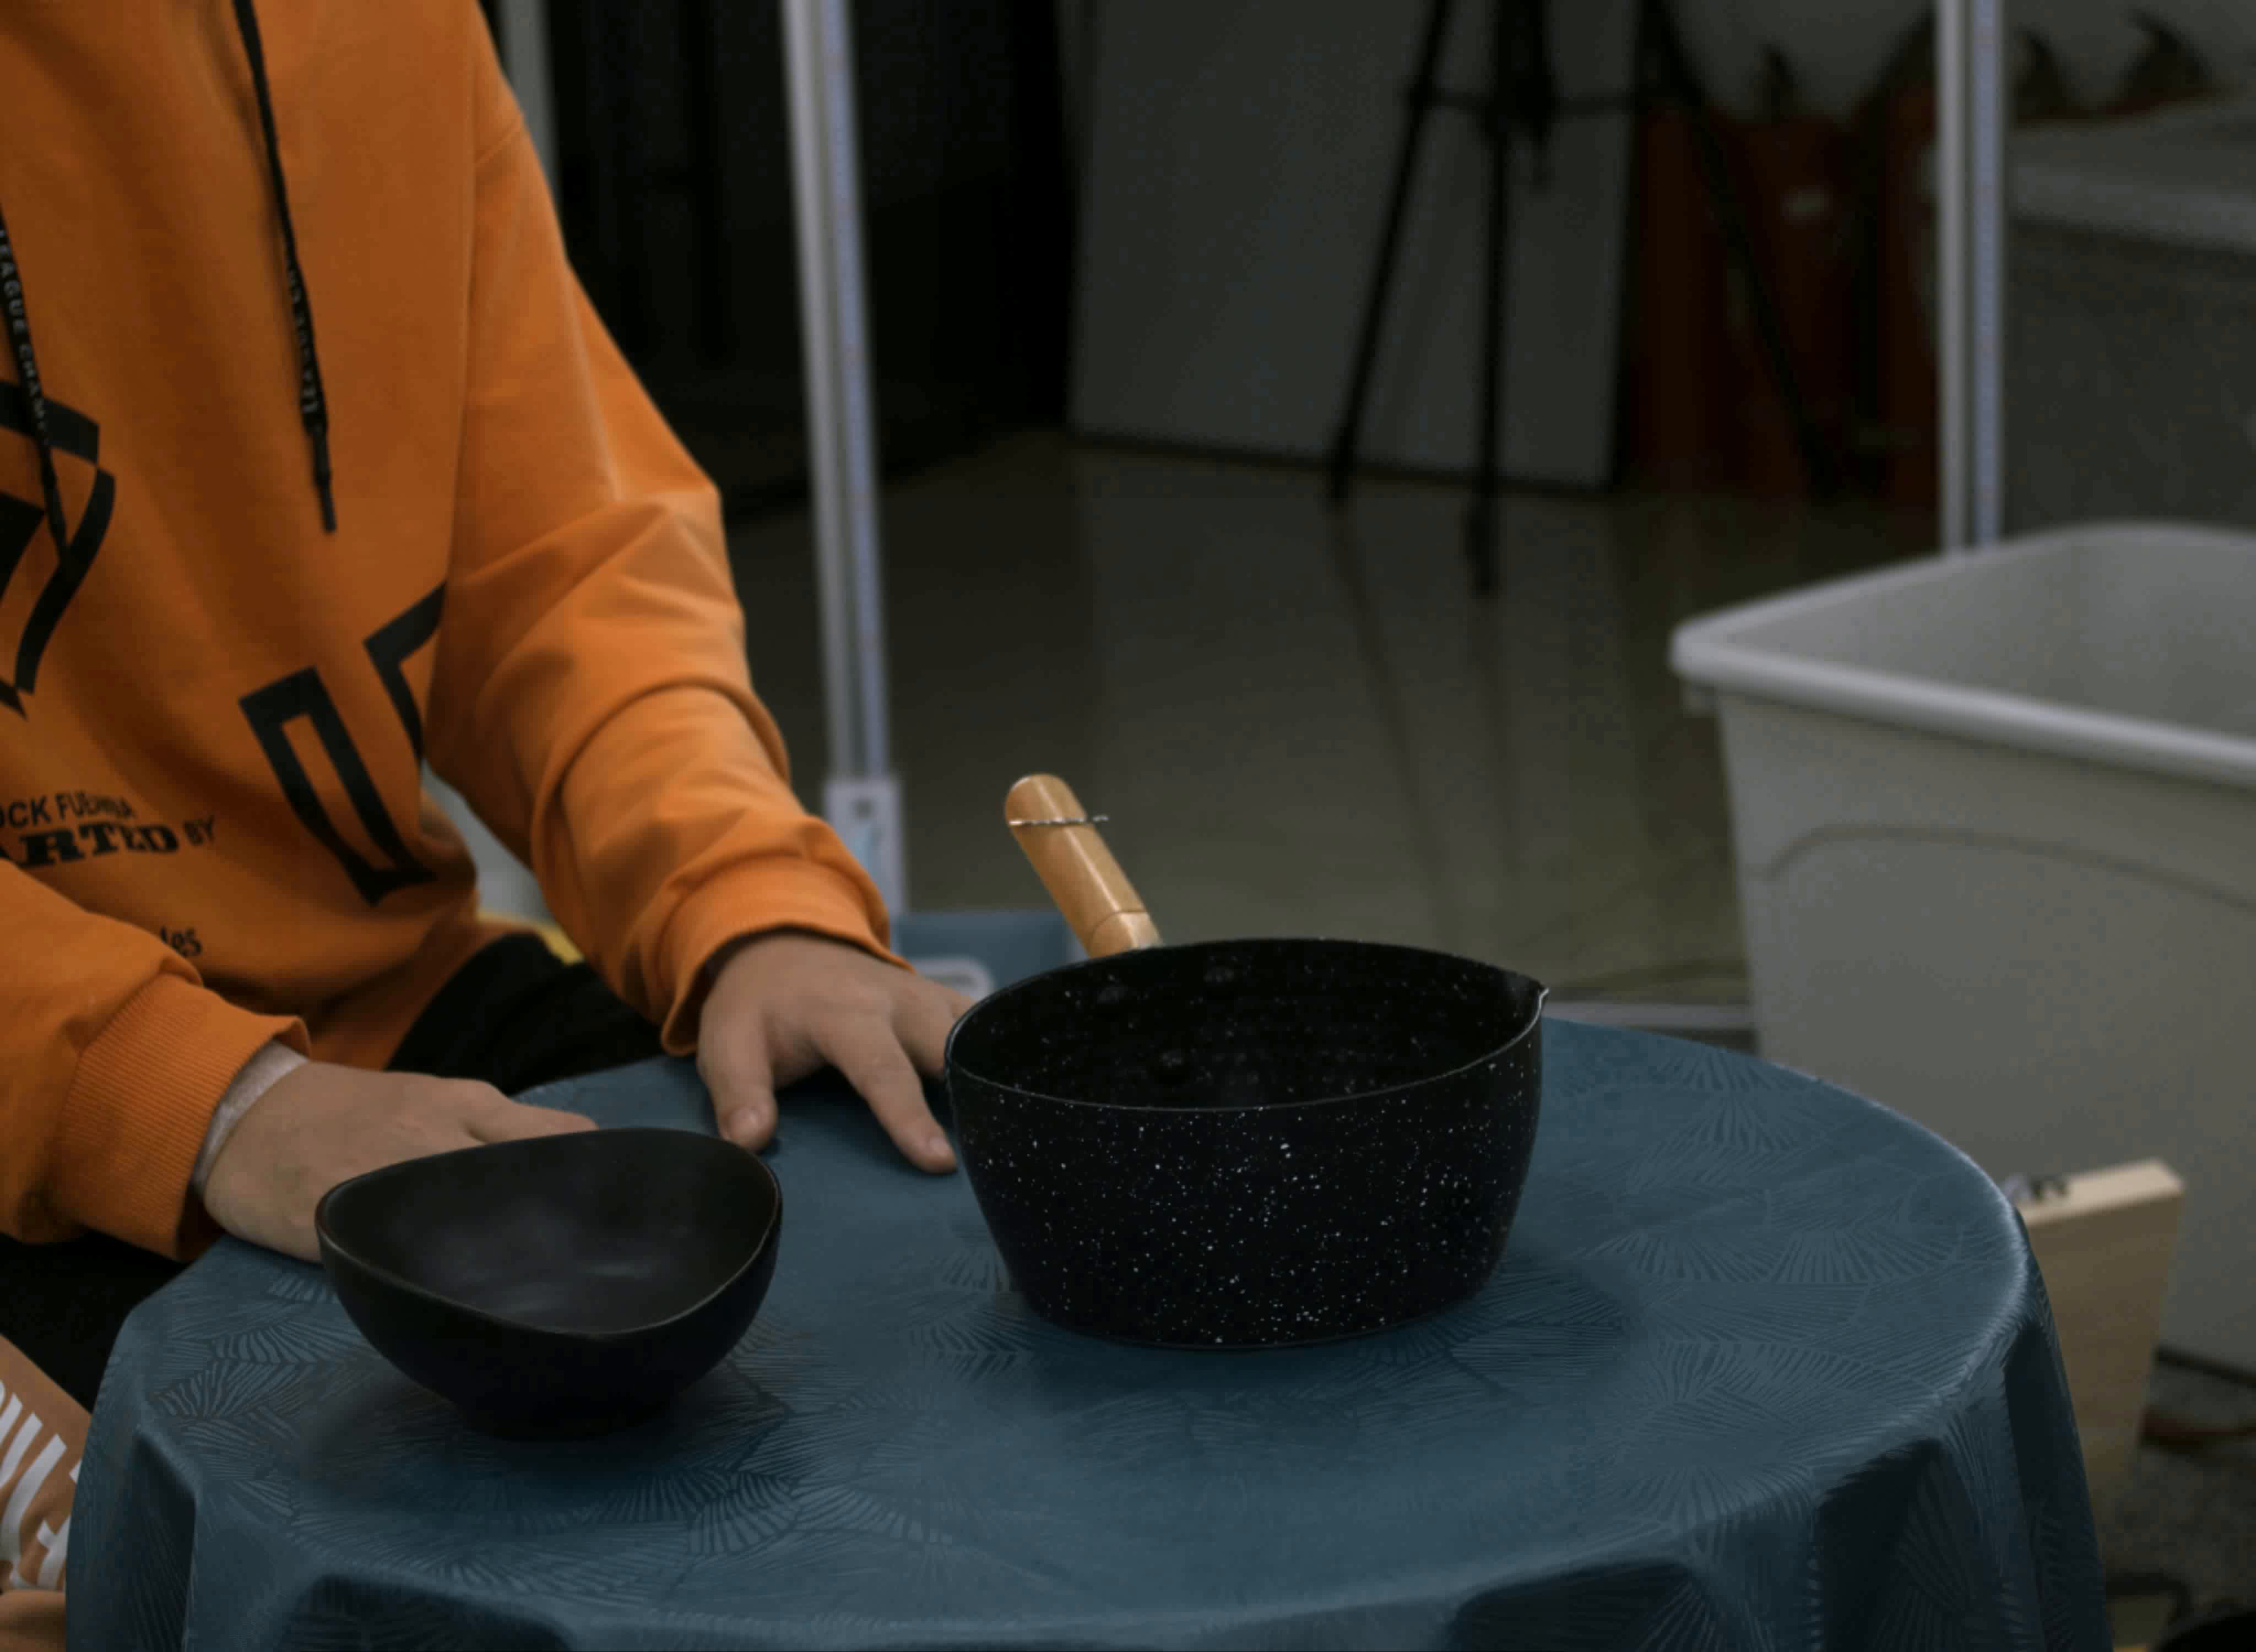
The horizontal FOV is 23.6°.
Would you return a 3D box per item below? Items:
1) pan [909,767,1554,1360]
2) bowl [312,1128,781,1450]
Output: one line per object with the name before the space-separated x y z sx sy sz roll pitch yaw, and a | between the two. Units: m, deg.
pan | 0.015 0.071 1.744 0.203 0.109 0.345 -9 16 -14
bowl | -0.168 0.142 1.605 0.134 0.067 0.172 -10 17 -21
